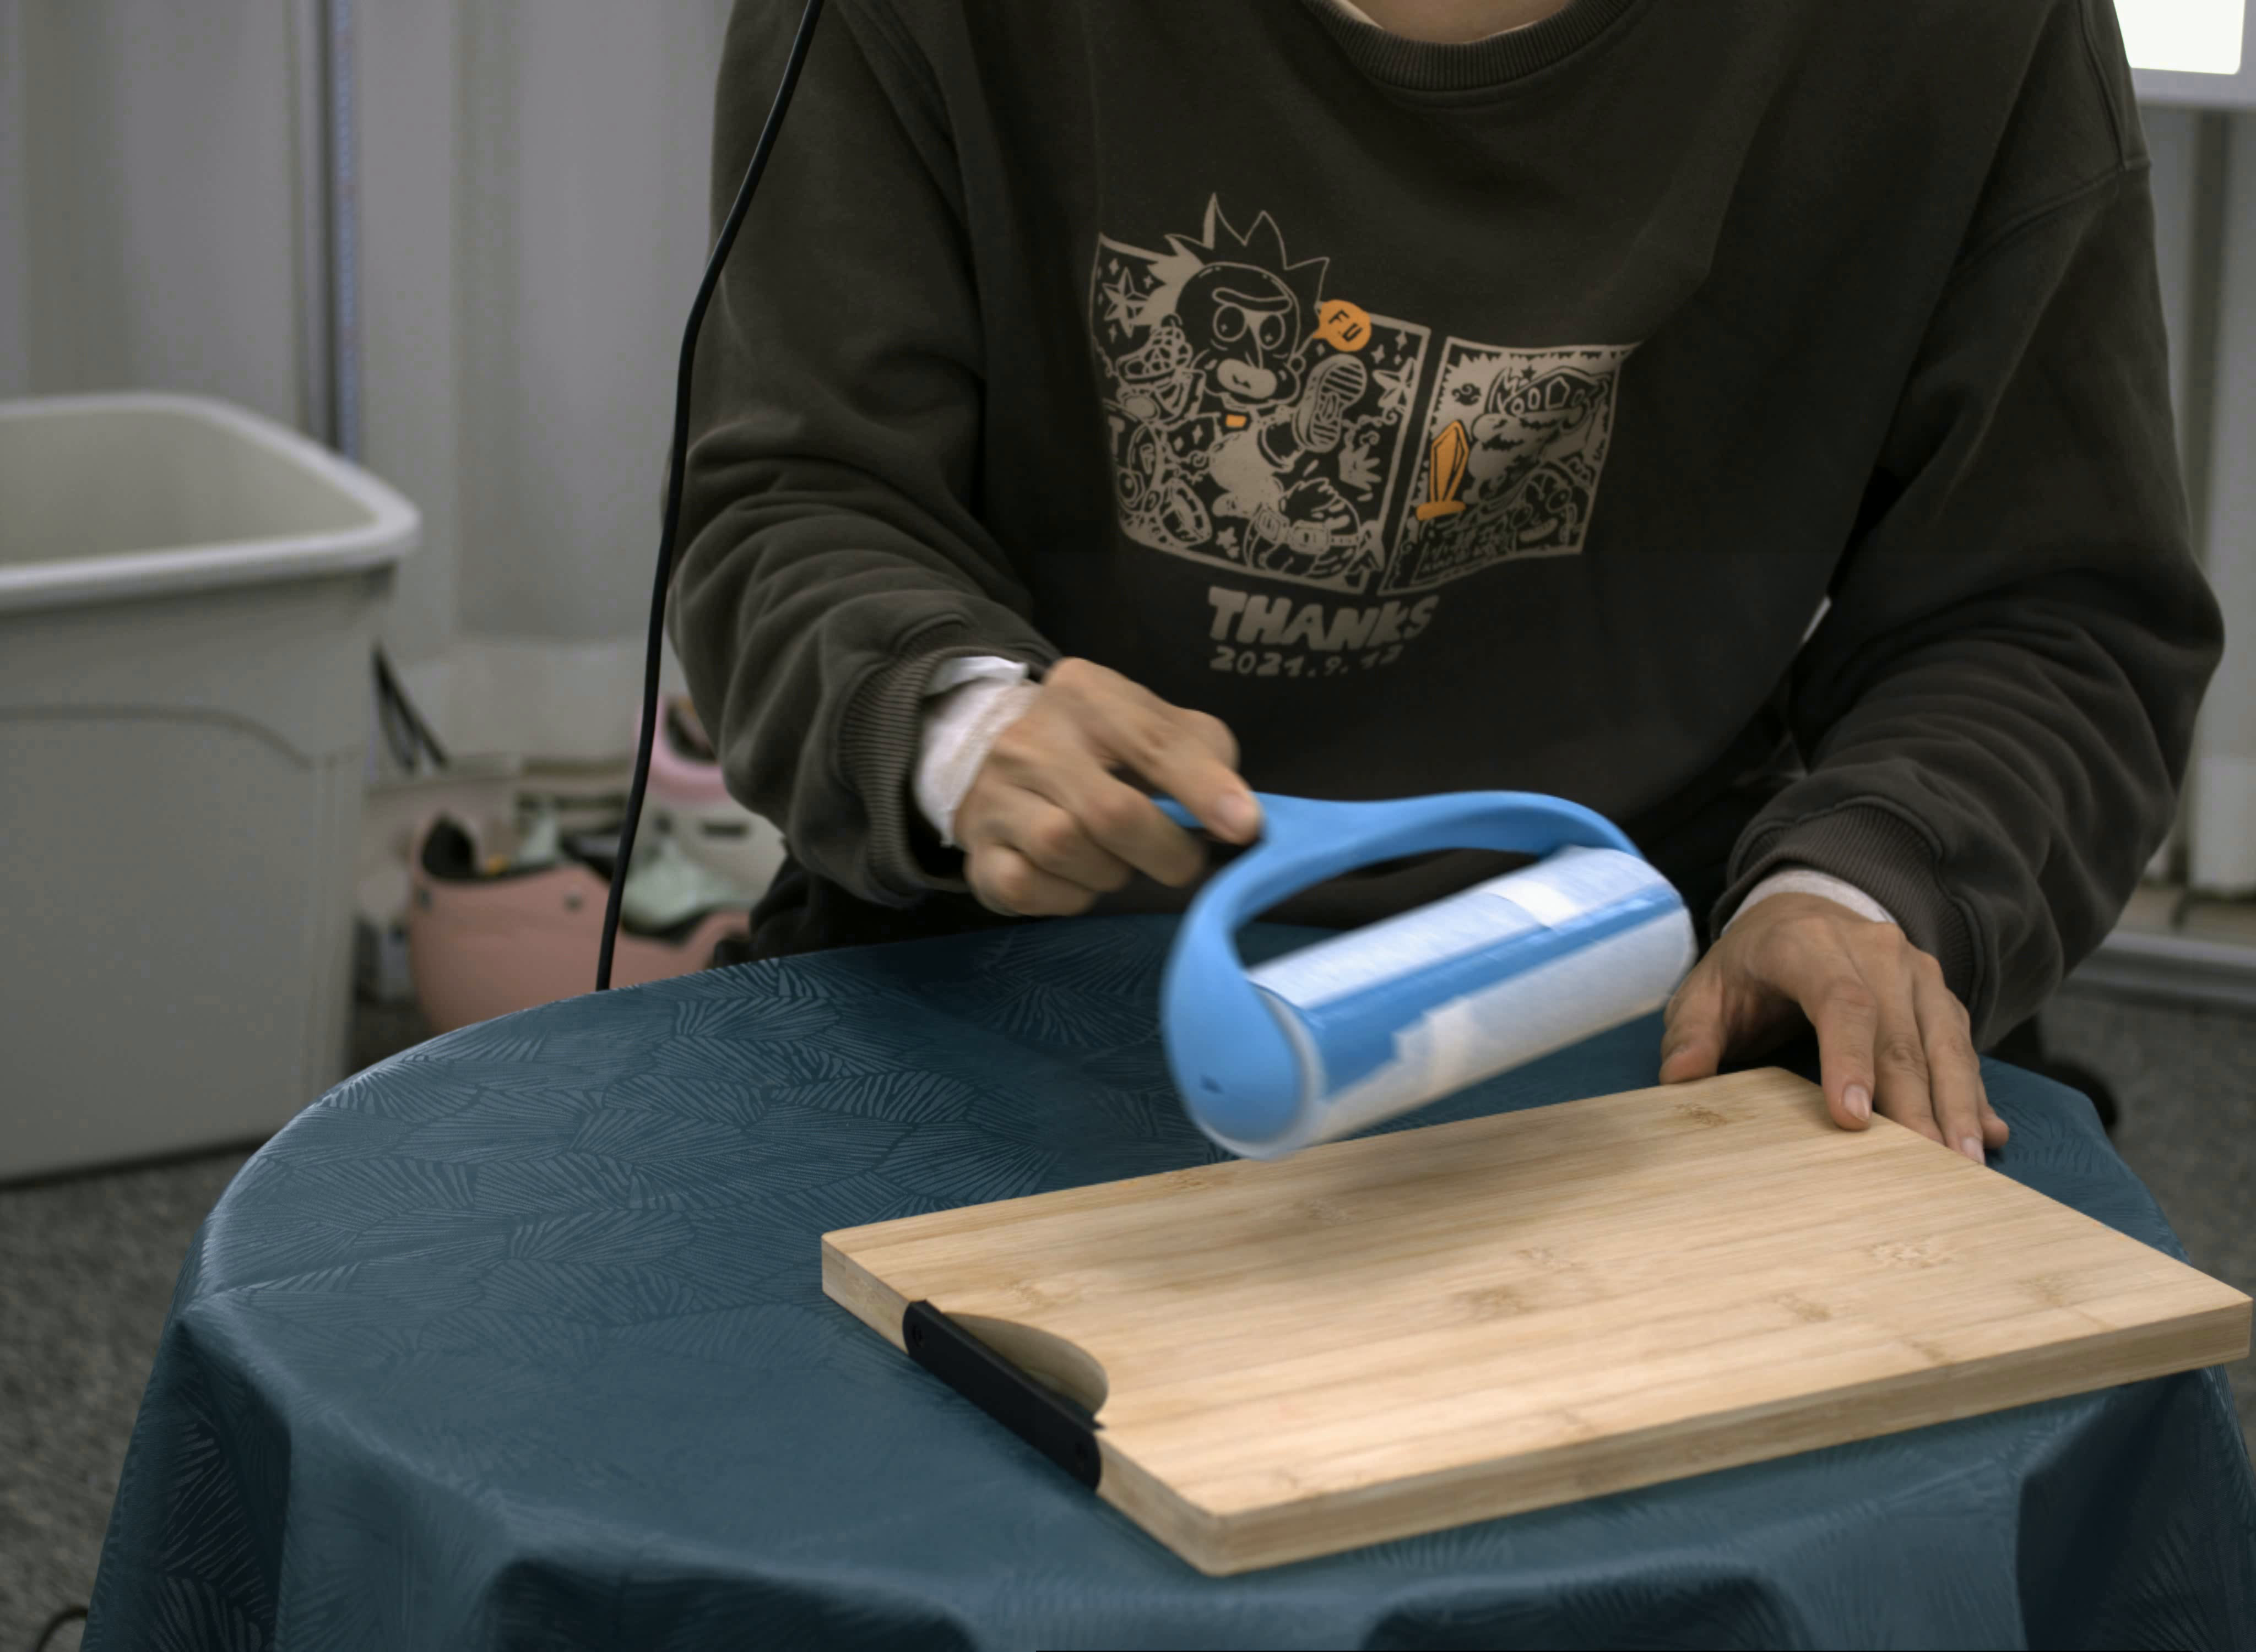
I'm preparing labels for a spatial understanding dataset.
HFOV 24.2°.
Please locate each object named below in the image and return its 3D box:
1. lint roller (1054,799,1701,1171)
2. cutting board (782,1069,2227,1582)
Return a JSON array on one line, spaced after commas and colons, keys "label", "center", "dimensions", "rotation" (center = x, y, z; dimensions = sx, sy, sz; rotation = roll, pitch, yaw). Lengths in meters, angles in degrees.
[{"label": "lint roller", "center": [0.053, 0.026, 1.594], "dimensions": [0.178, 0.068, 0.230], "rotation": [31, 29, 26]}, {"label": "cutting board", "center": [0.108, 0.136, 1.518], "dimensions": [0.350, 0.024, 0.247], "rotation": [-8, 17, -28]}]
